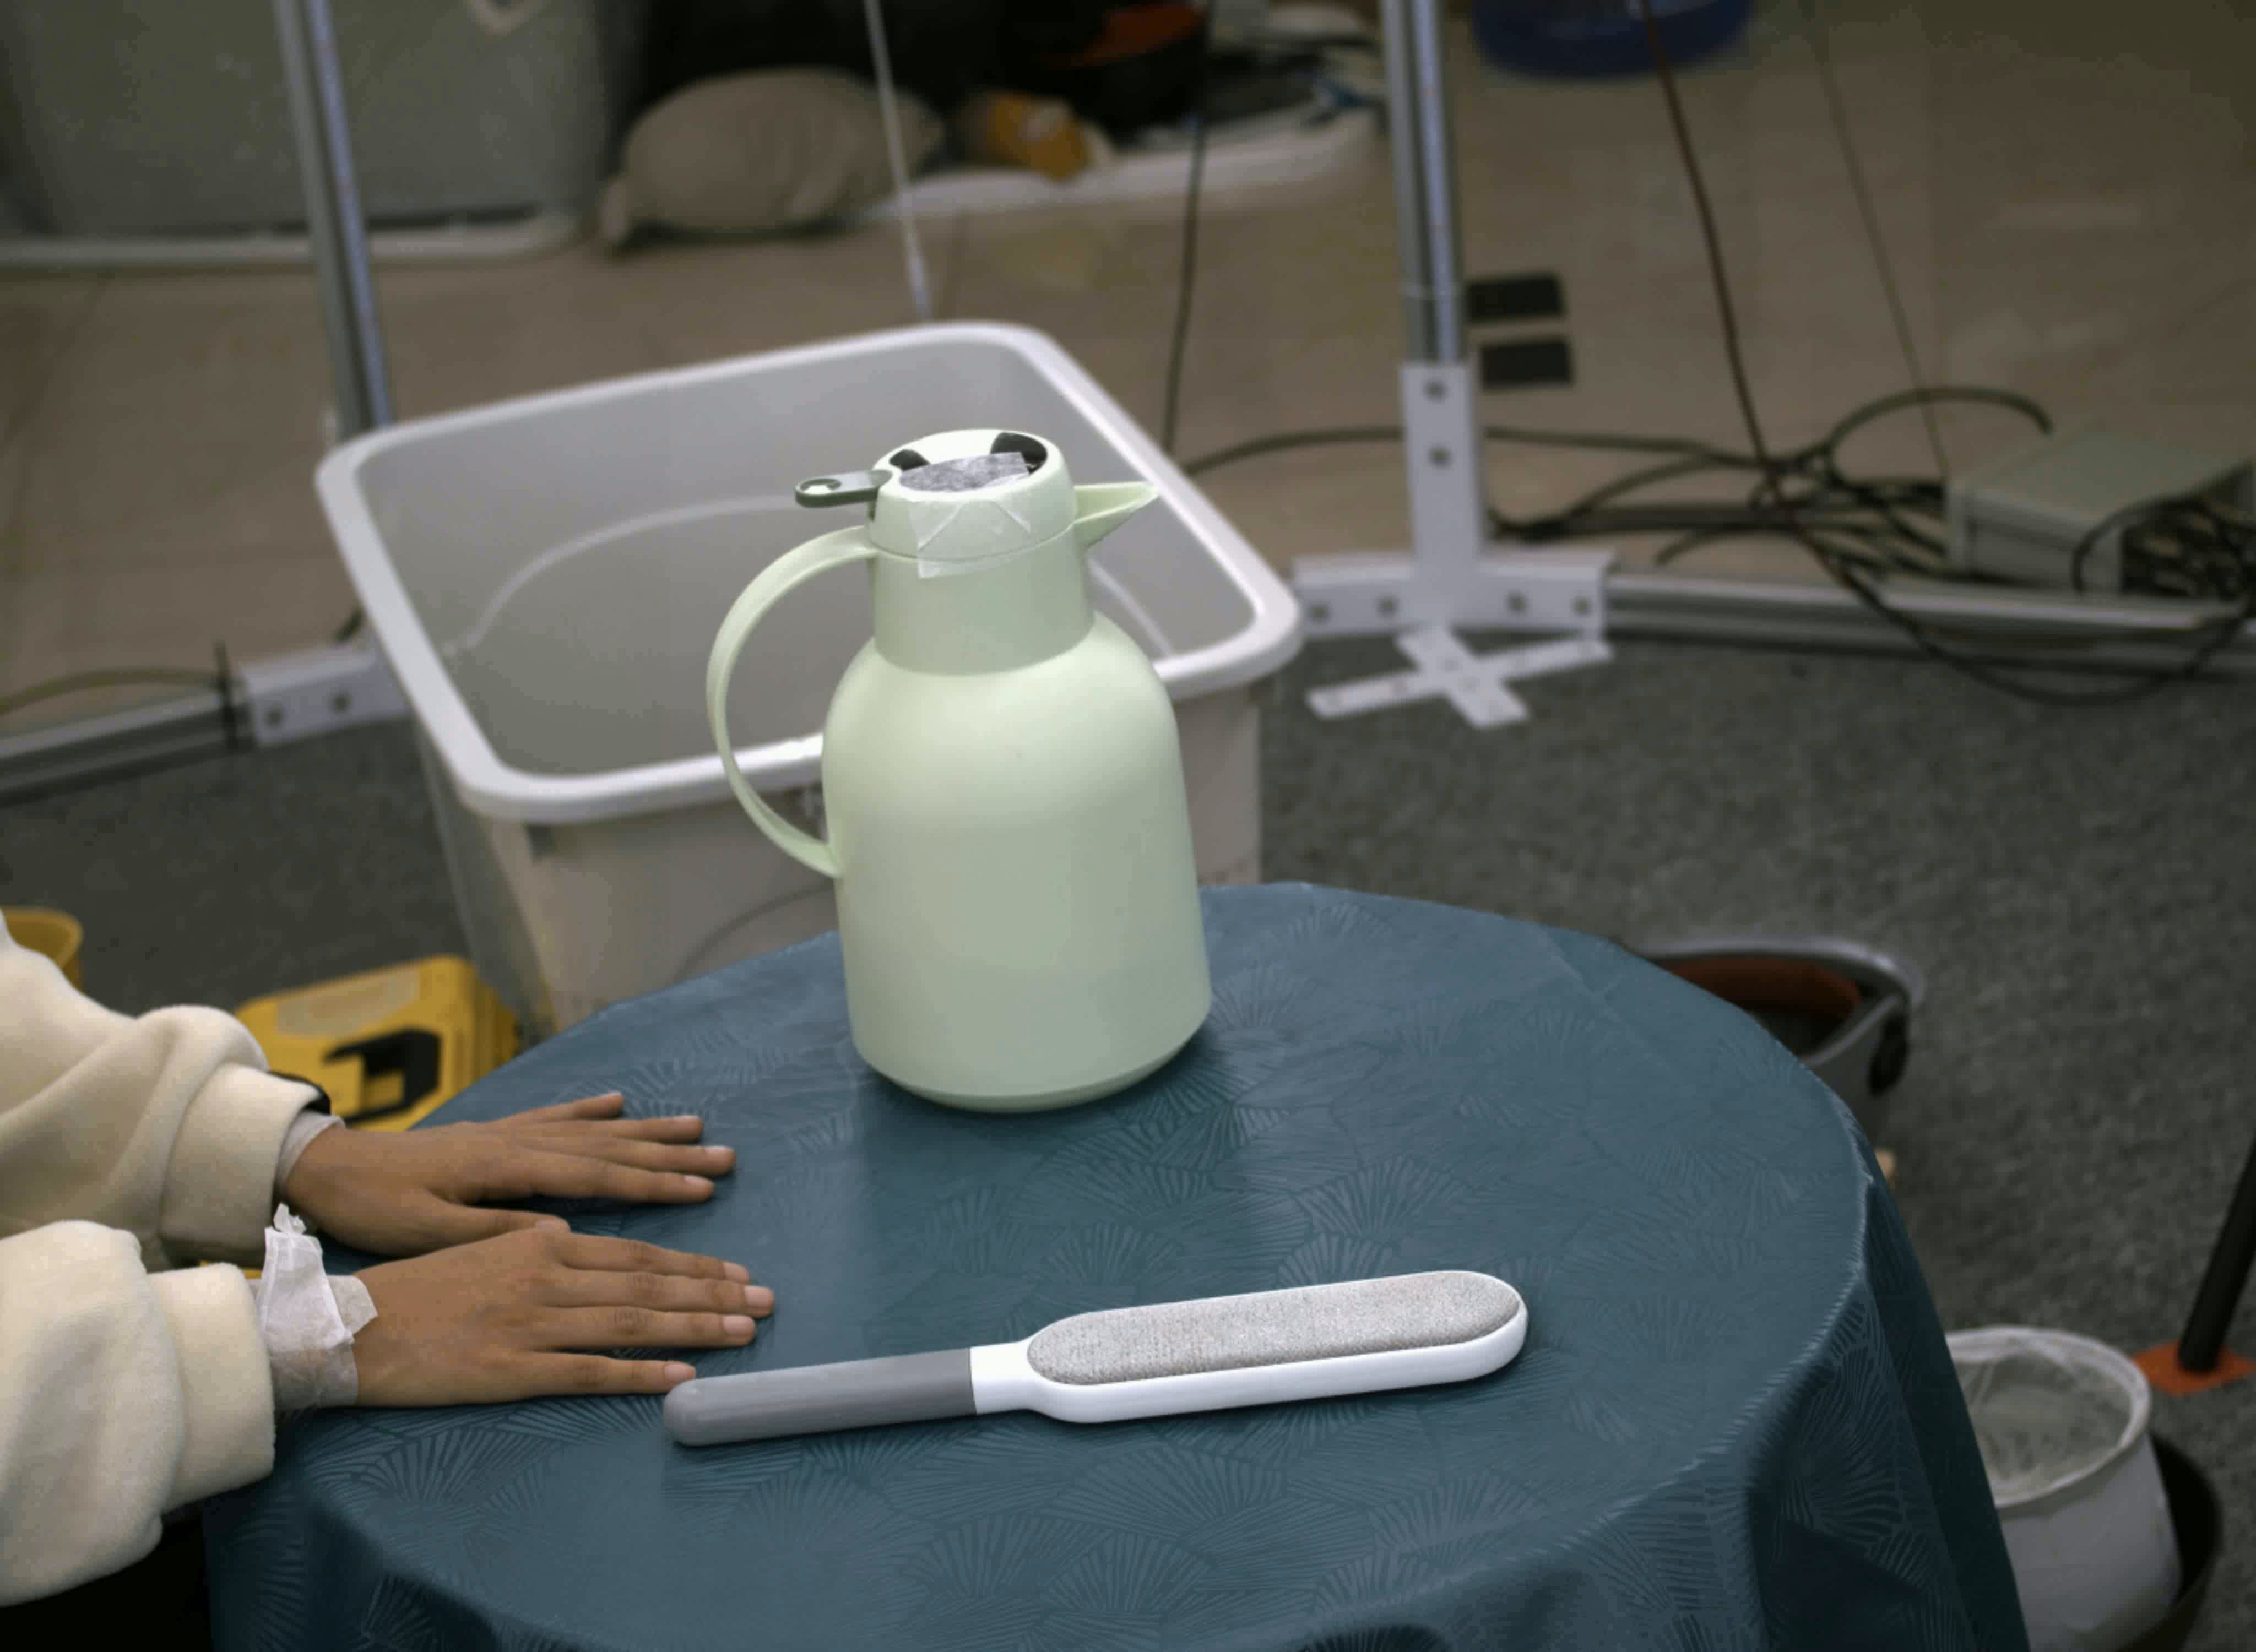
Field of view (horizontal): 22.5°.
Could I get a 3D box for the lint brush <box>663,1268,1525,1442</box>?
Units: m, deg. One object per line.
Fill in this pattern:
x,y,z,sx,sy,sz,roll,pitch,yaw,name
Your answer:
-0.012,0.190,2.013,0.308,0.021,0.059,-7,27,1,lint brush

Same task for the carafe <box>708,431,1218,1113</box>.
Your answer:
-0.063,-0.023,2.212,0.186,0.261,0.142,-13,28,-6,carafe
